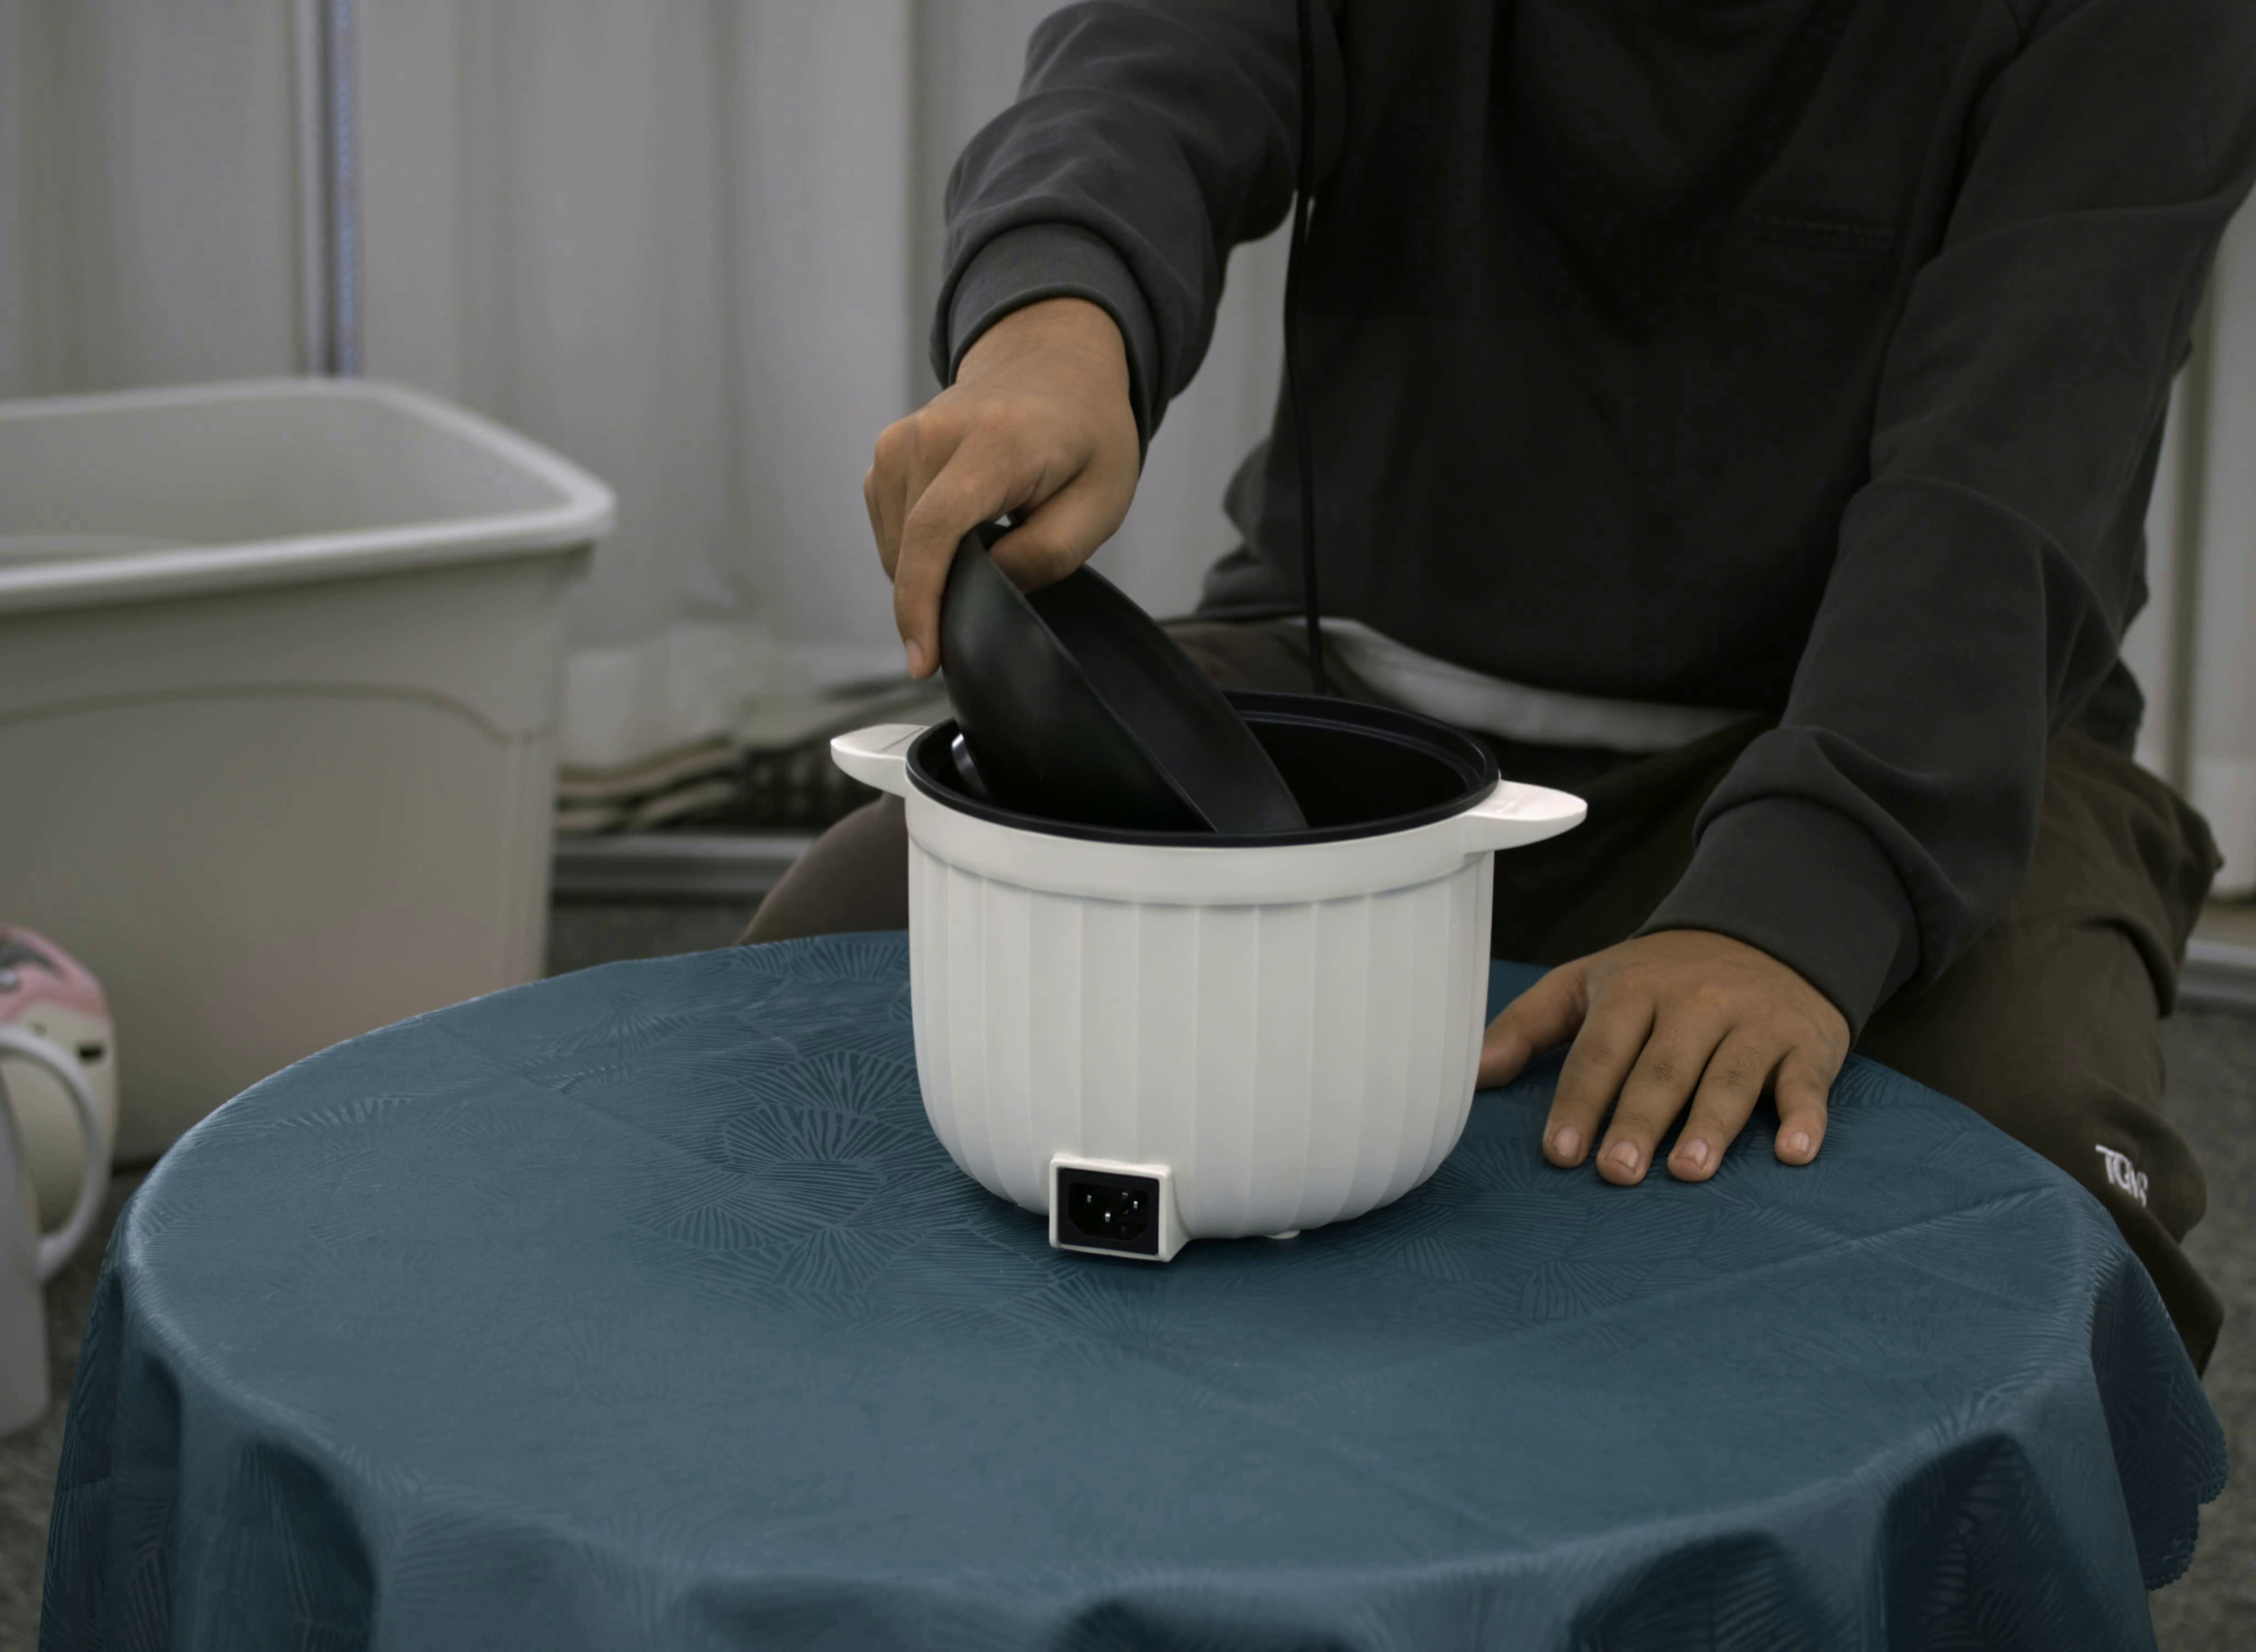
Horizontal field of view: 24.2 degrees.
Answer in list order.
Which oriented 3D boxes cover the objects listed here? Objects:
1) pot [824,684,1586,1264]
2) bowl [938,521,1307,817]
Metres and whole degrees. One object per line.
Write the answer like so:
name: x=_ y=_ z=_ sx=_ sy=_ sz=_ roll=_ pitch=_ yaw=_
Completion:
pot: x=0.022 y=0.042 z=1.624 sx=0.238 sy=0.144 sz=0.190 roll=6 pitch=20 yaw=16
bowl: x=-0.008 y=-0.016 z=1.614 sx=0.066 sy=0.170 sz=0.137 roll=-38 pitch=3 yaw=12
